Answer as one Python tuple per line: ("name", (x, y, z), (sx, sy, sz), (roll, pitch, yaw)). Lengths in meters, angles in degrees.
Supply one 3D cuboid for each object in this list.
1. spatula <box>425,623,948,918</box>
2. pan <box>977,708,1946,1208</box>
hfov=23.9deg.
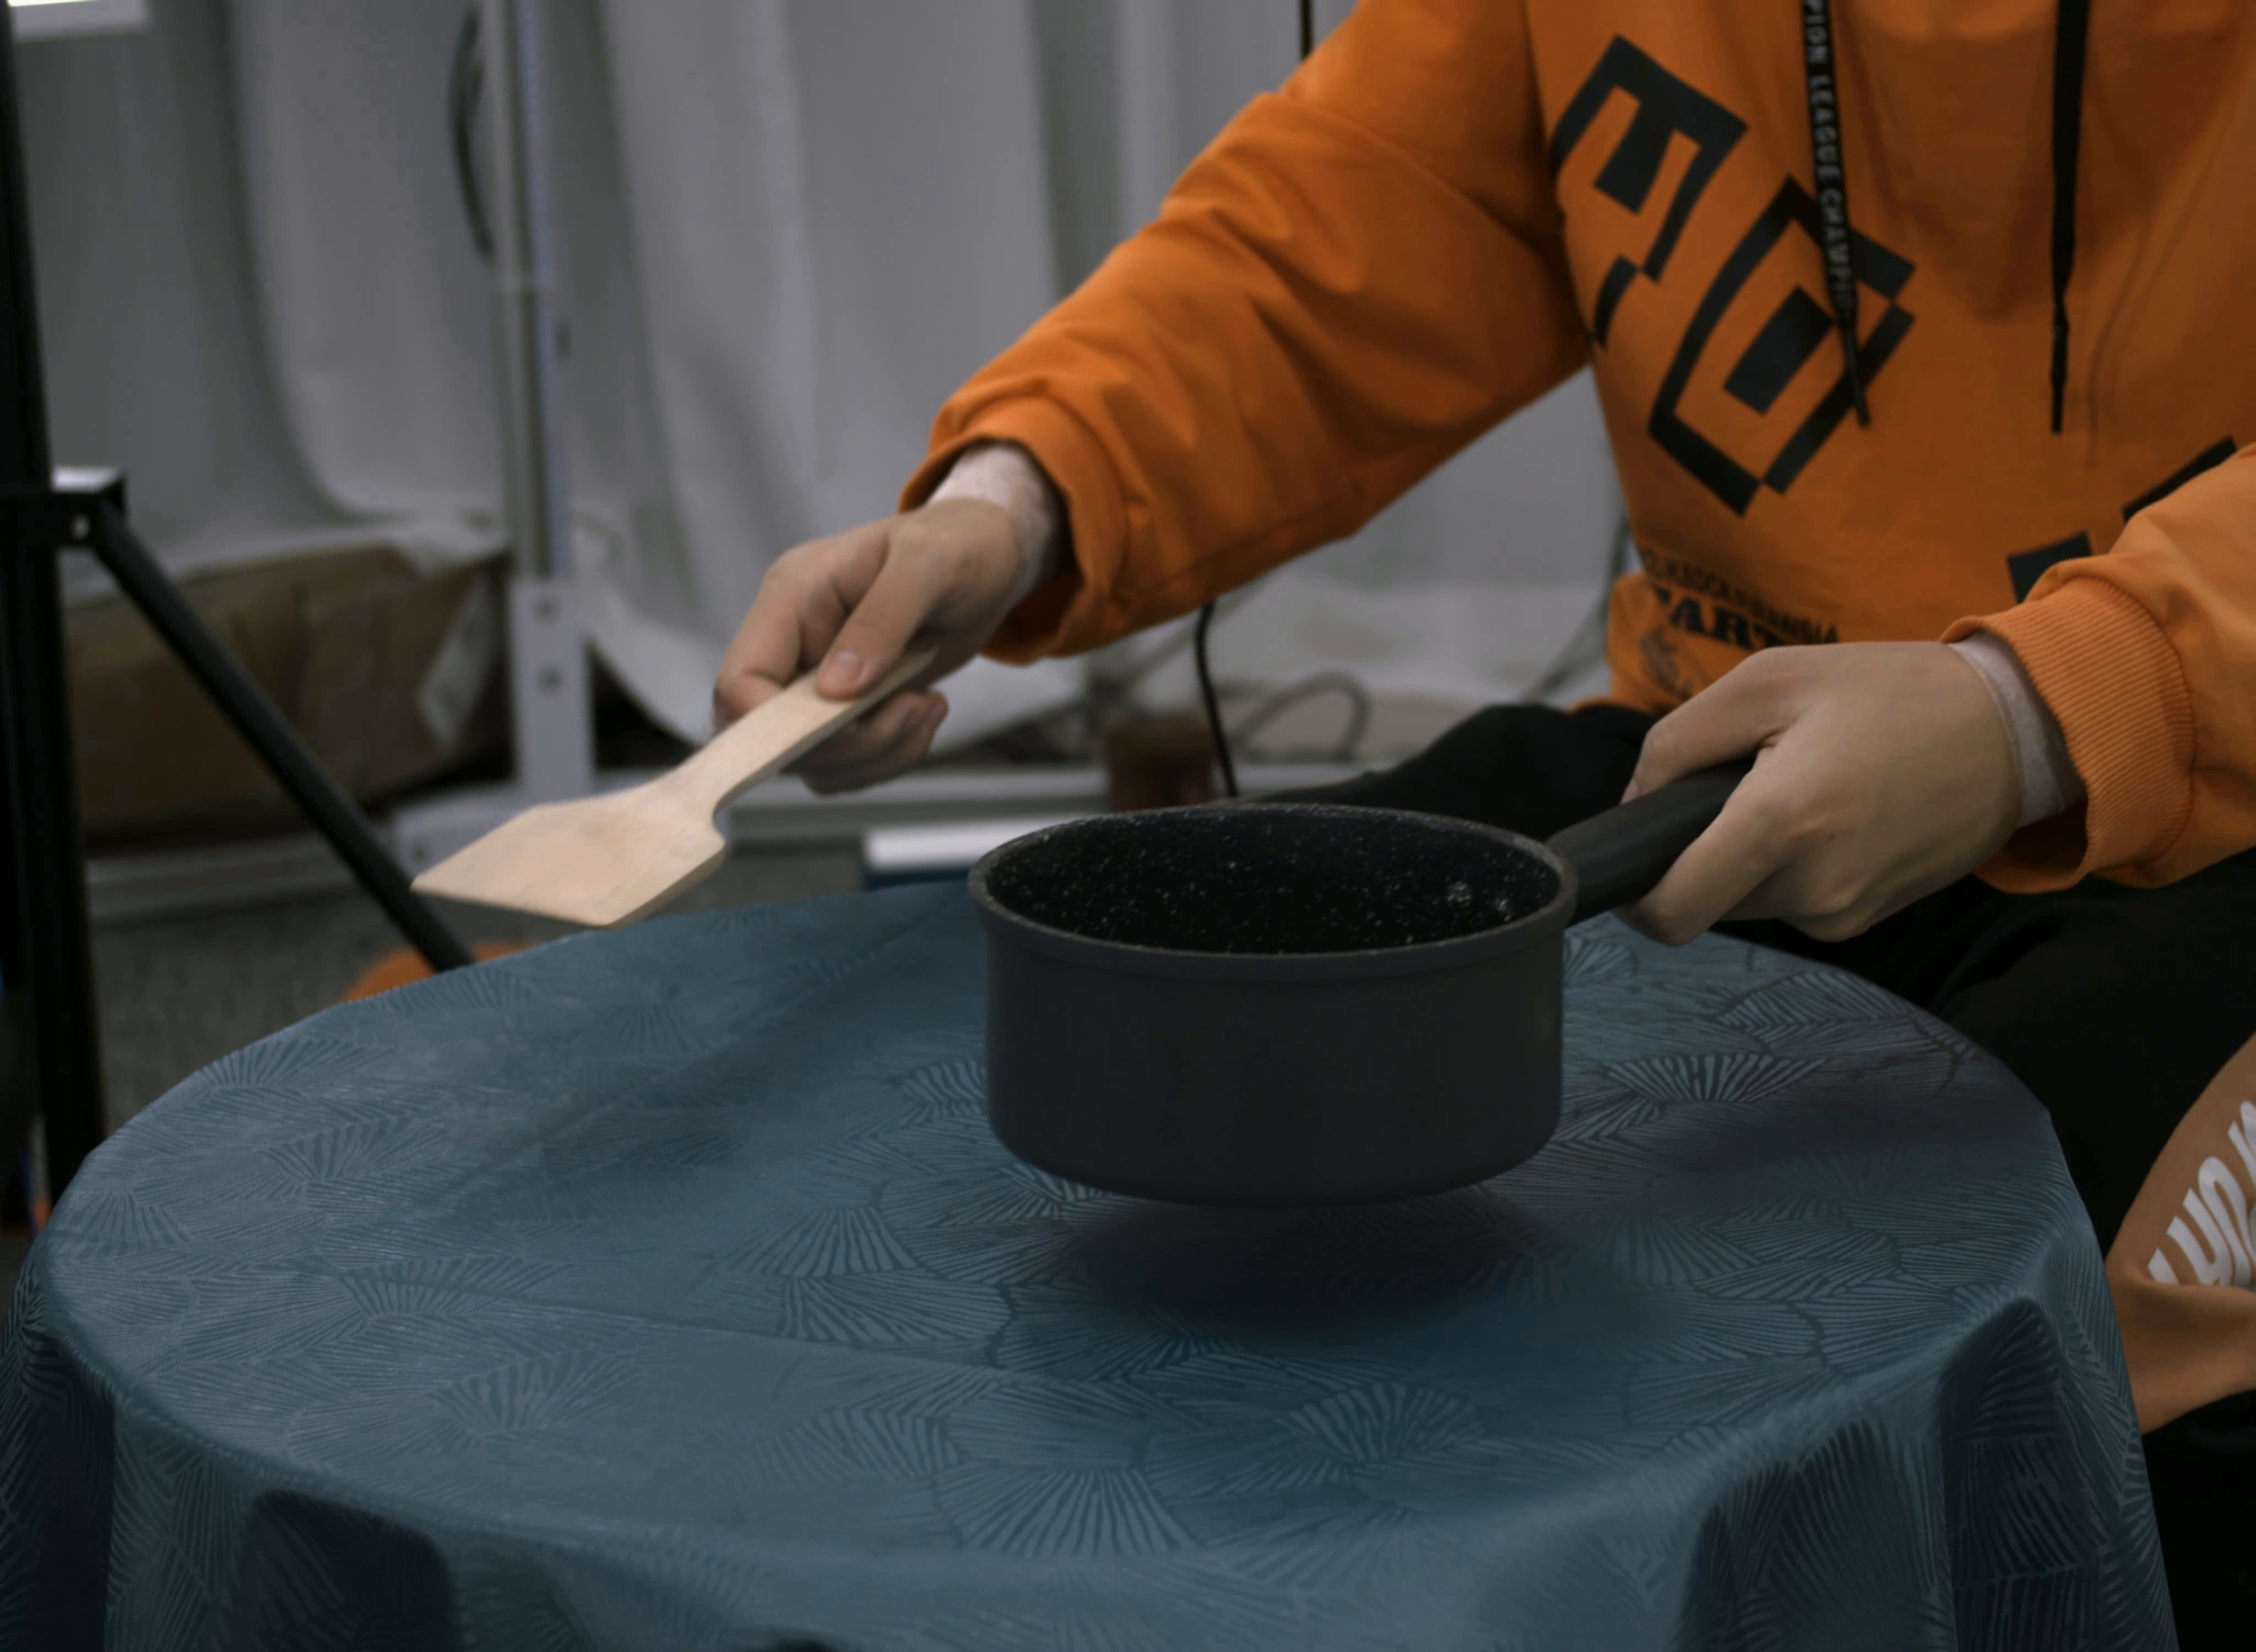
("spatula", (-0.128, -0.022, 1.715), (0.073, 0.010, 0.289), (10, 22, 20))
("pan", (0.107, 0.034, 1.532), (0.321, 0.086, 0.176), (-12, 18, -33))
